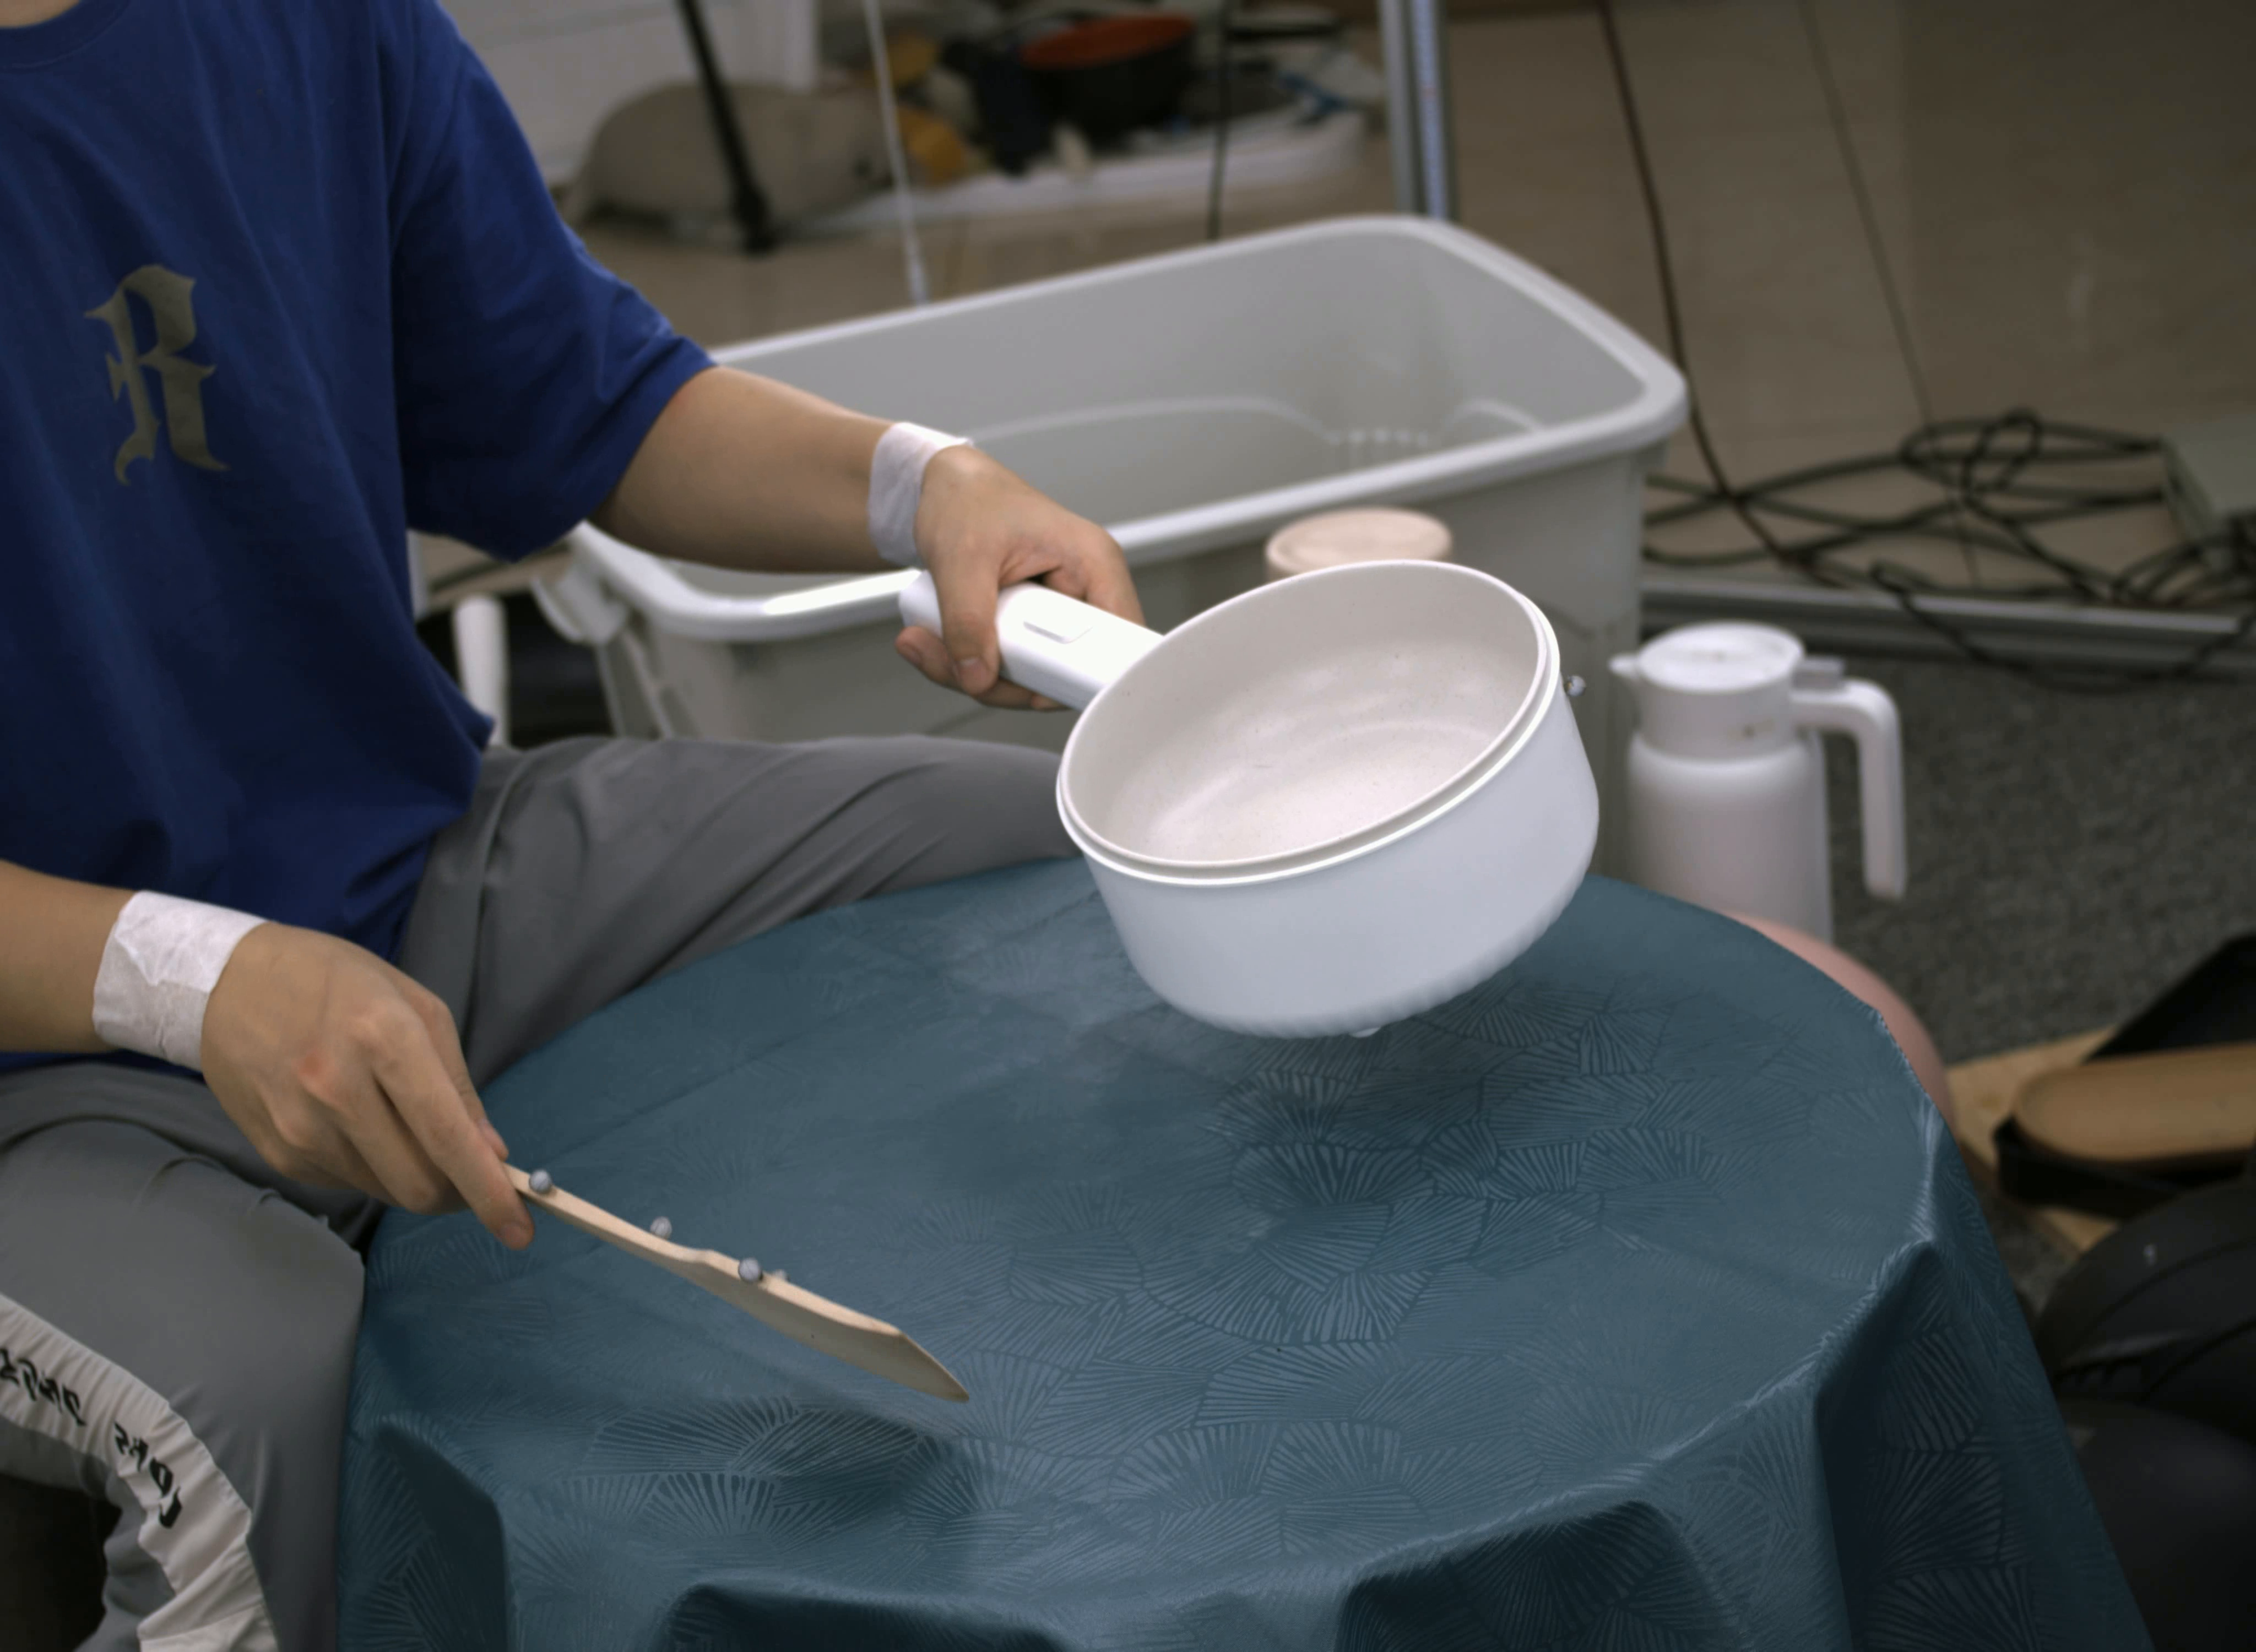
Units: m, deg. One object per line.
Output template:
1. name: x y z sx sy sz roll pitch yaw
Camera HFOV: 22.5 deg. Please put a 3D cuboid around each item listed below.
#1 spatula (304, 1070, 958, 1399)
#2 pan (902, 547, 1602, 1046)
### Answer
1. spatula: -0.188 0.141 2.037 0.291 0.073 0.010 22 74 30
2. pan: 0.037 -0.024 2.244 0.199 0.104 0.351 -40 36 -22
